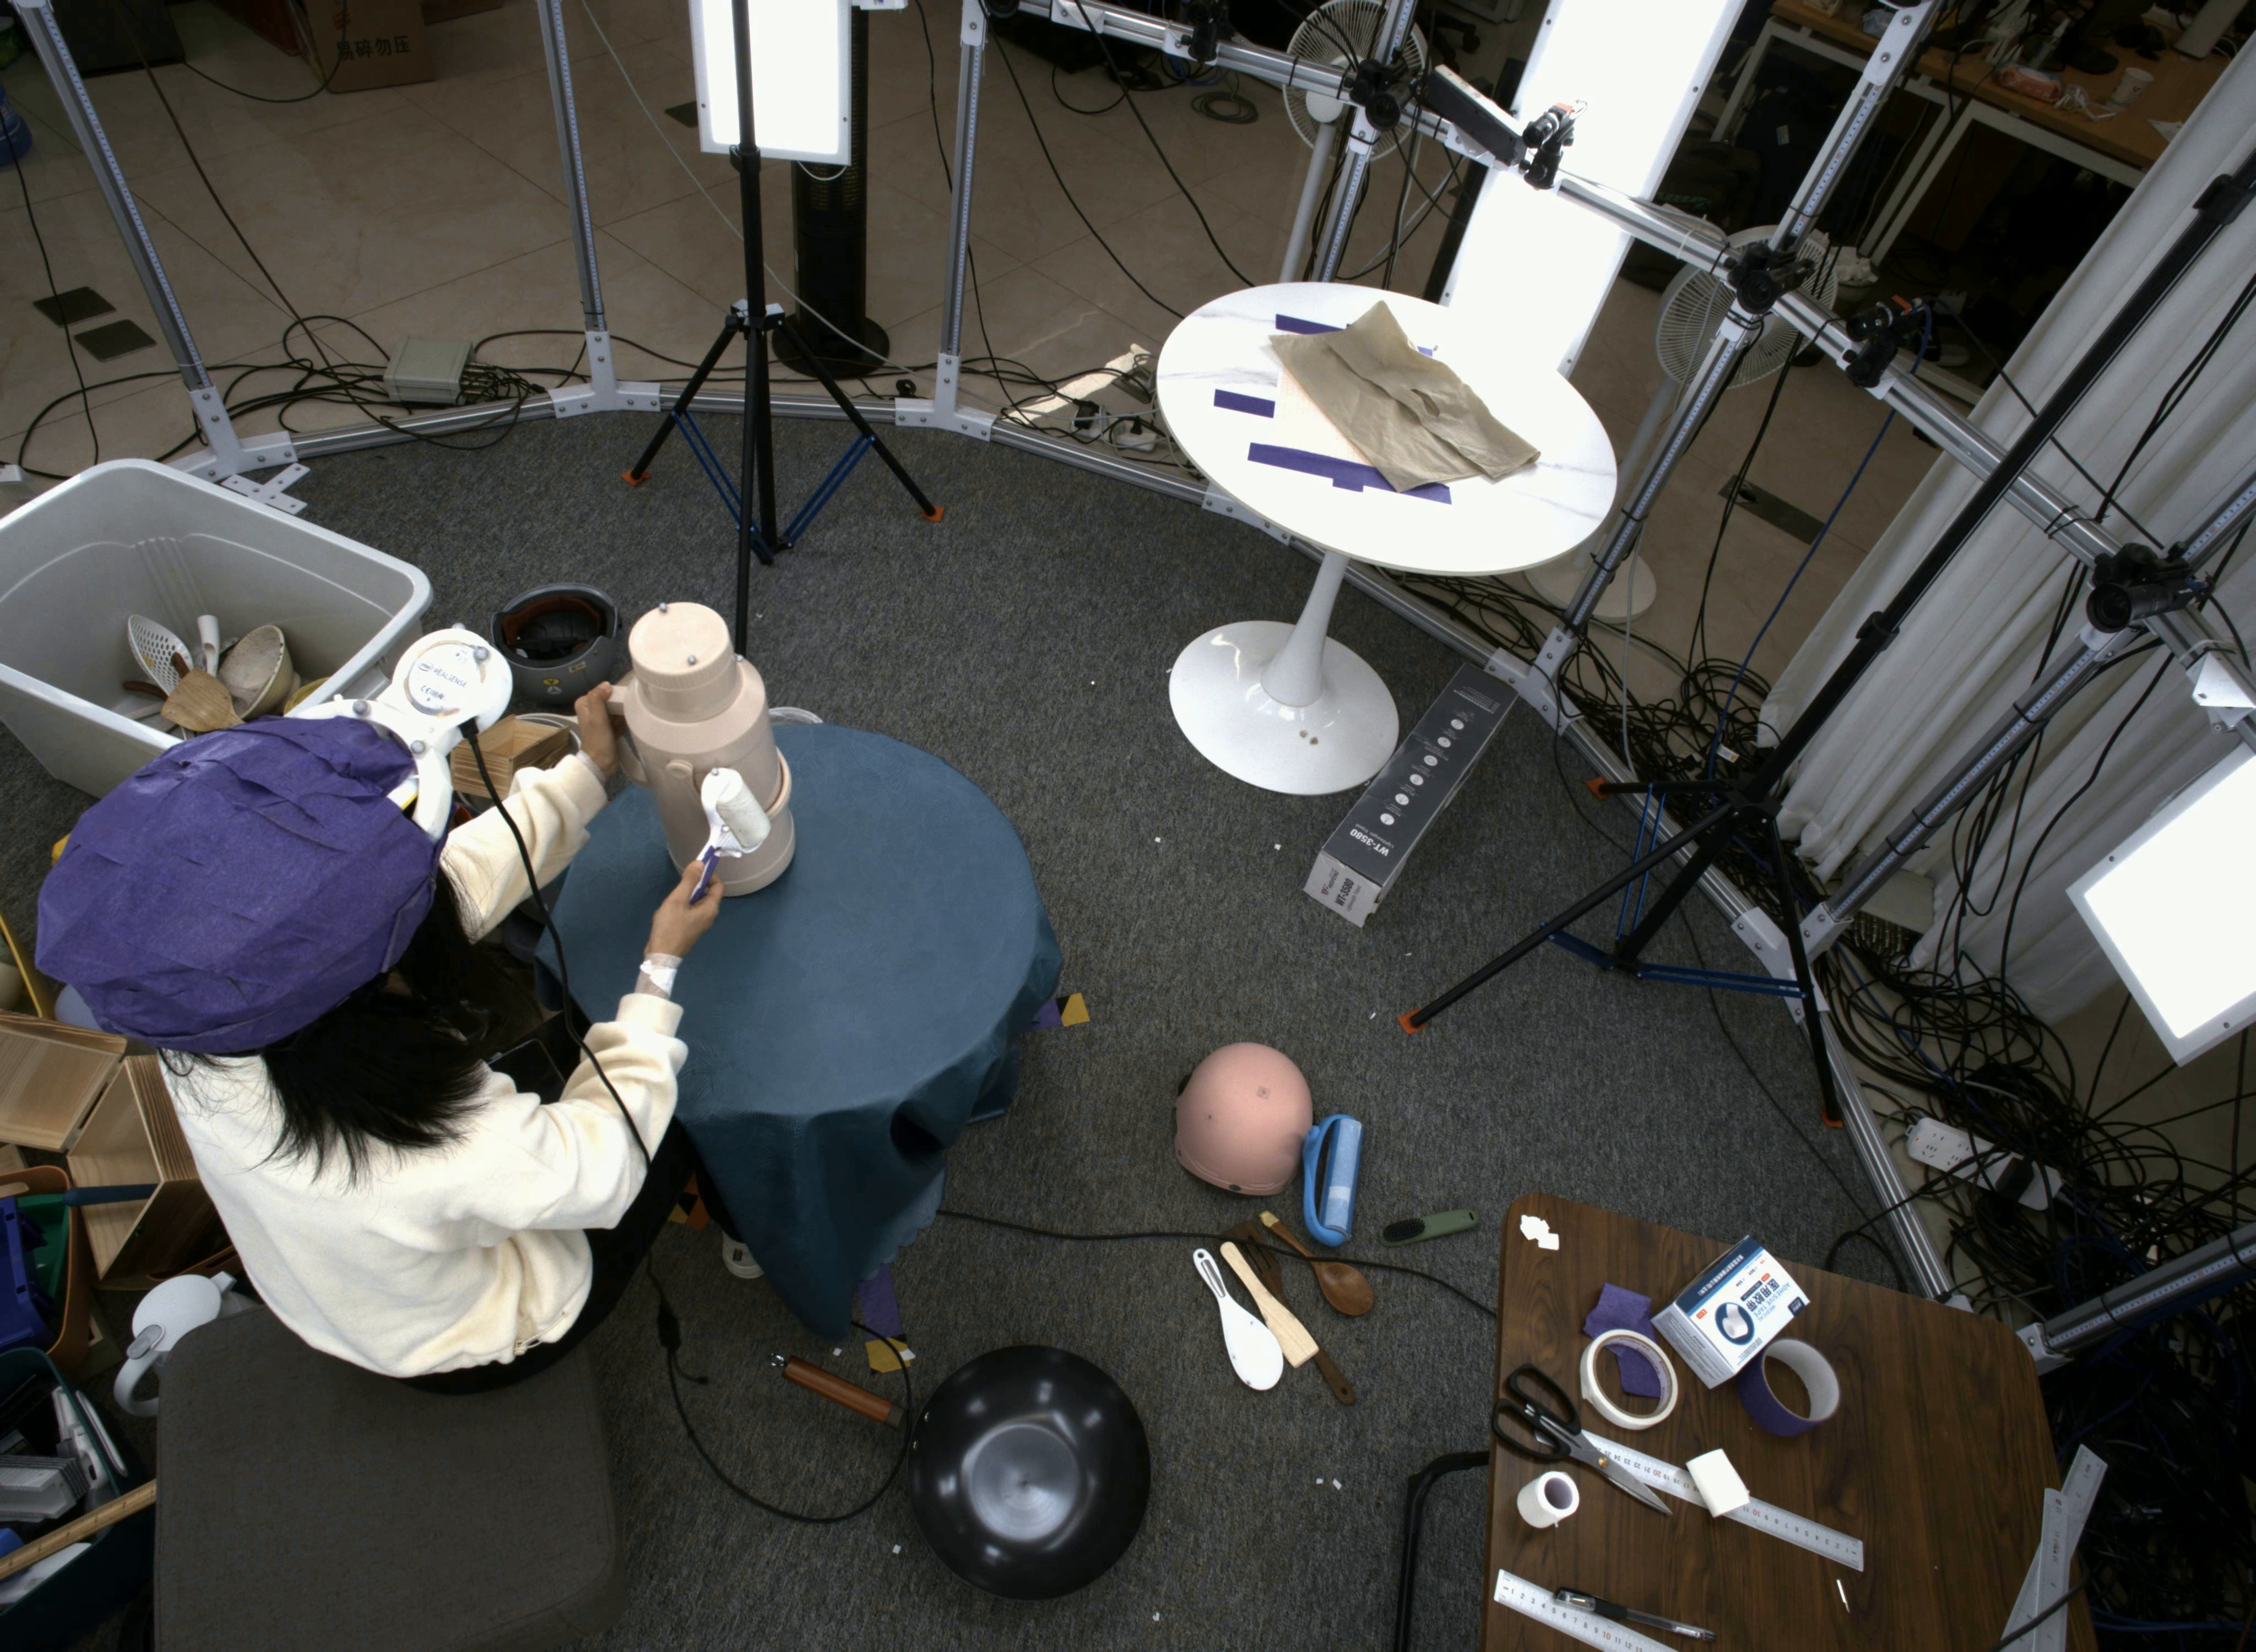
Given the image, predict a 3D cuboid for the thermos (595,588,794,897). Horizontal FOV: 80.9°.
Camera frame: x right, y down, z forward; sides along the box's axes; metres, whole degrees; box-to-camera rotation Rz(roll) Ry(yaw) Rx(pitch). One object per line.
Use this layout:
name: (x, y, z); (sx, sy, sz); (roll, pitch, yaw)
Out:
thermos: (-0.509, -0.096, 1.504); (0.205, 0.416, 0.172); (5, 56, -3)

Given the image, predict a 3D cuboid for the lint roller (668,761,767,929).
lint roller: (-0.457, 0.029, 1.421); (0.049, 0.137, 0.179); (6, 60, 9)
